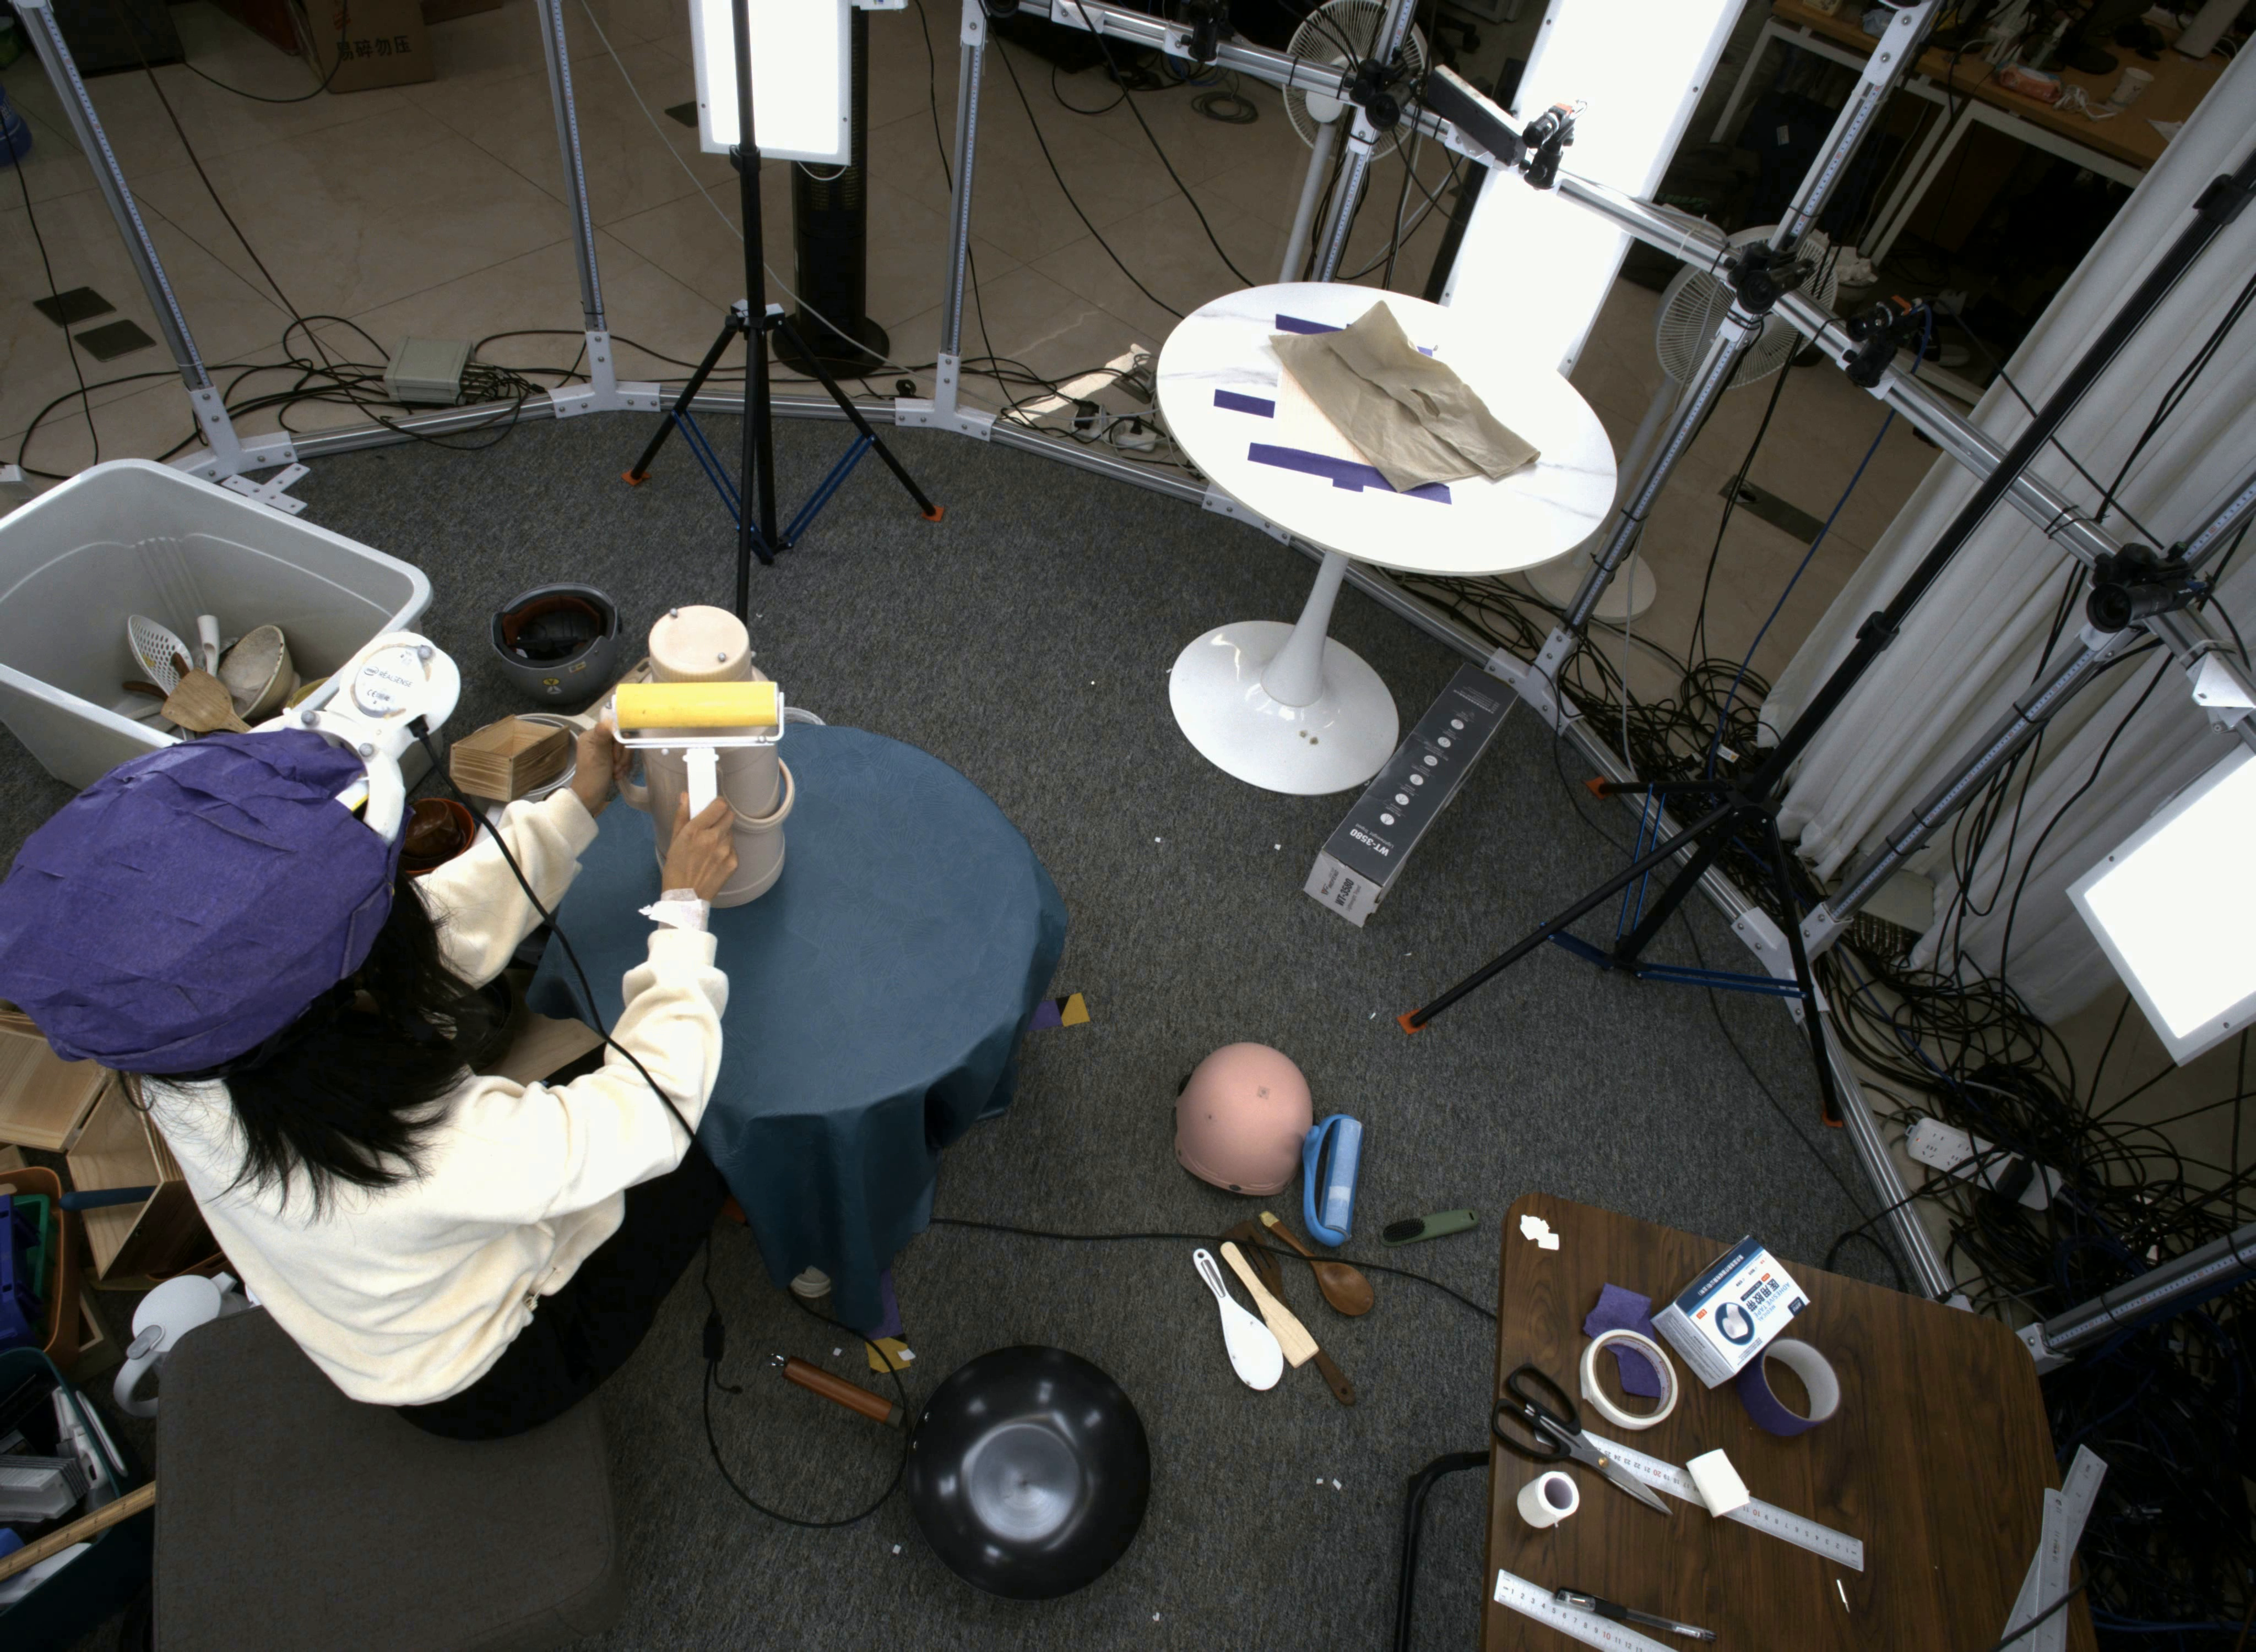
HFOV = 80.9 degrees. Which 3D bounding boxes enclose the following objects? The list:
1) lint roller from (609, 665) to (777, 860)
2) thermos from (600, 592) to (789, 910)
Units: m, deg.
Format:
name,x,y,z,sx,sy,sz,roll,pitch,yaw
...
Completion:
name,x,y,z,sx,sy,sz,roll,pitch,yaw
lint roller,-0.444,-0.065,1.318,0.174,0.051,0.193,-3,87,-11
thermos,-0.505,-0.084,1.504,0.207,0.415,0.171,-6,54,-16
